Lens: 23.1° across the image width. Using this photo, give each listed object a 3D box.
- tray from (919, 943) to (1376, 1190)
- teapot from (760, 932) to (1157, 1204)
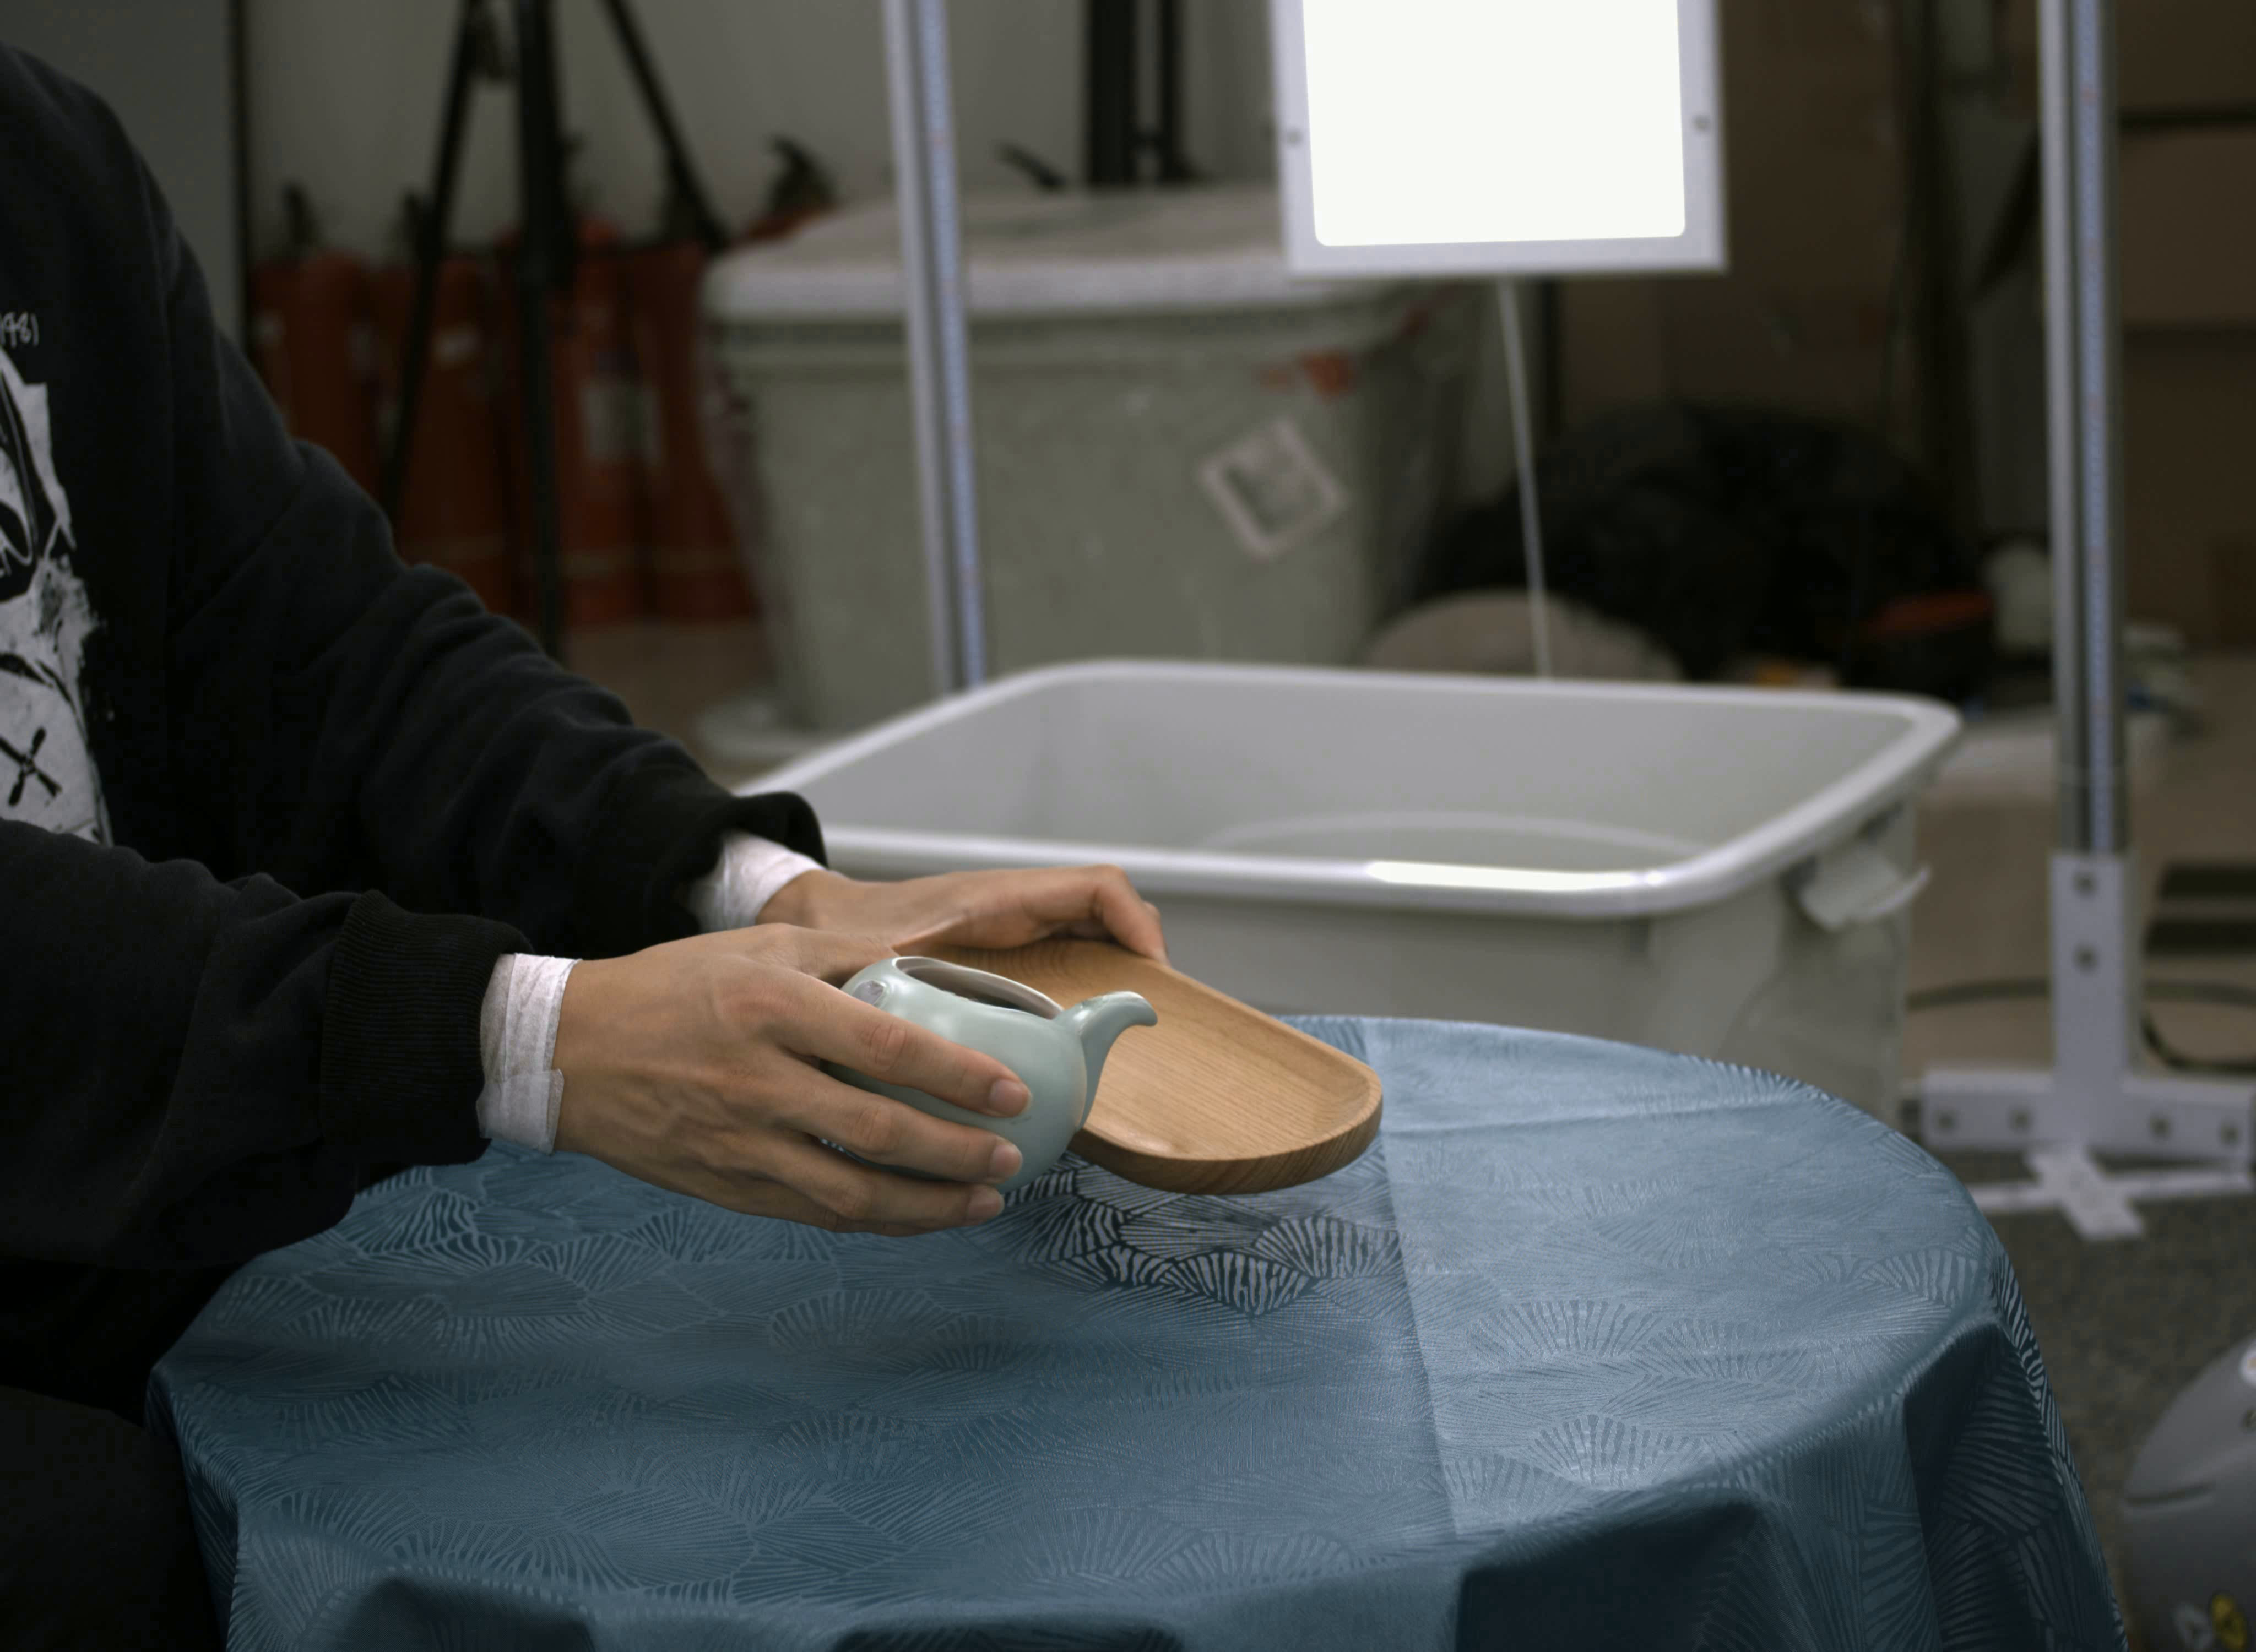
[{"bbox_3d":[-0.004,0.080,1.875,0.099,0.020,0.235,-15,20,-30],"label":"tray"},{"bbox_3d":[-0.057,0.078,1.743,0.140,0.075,0.090,12,7,-32],"label":"teapot"}]
